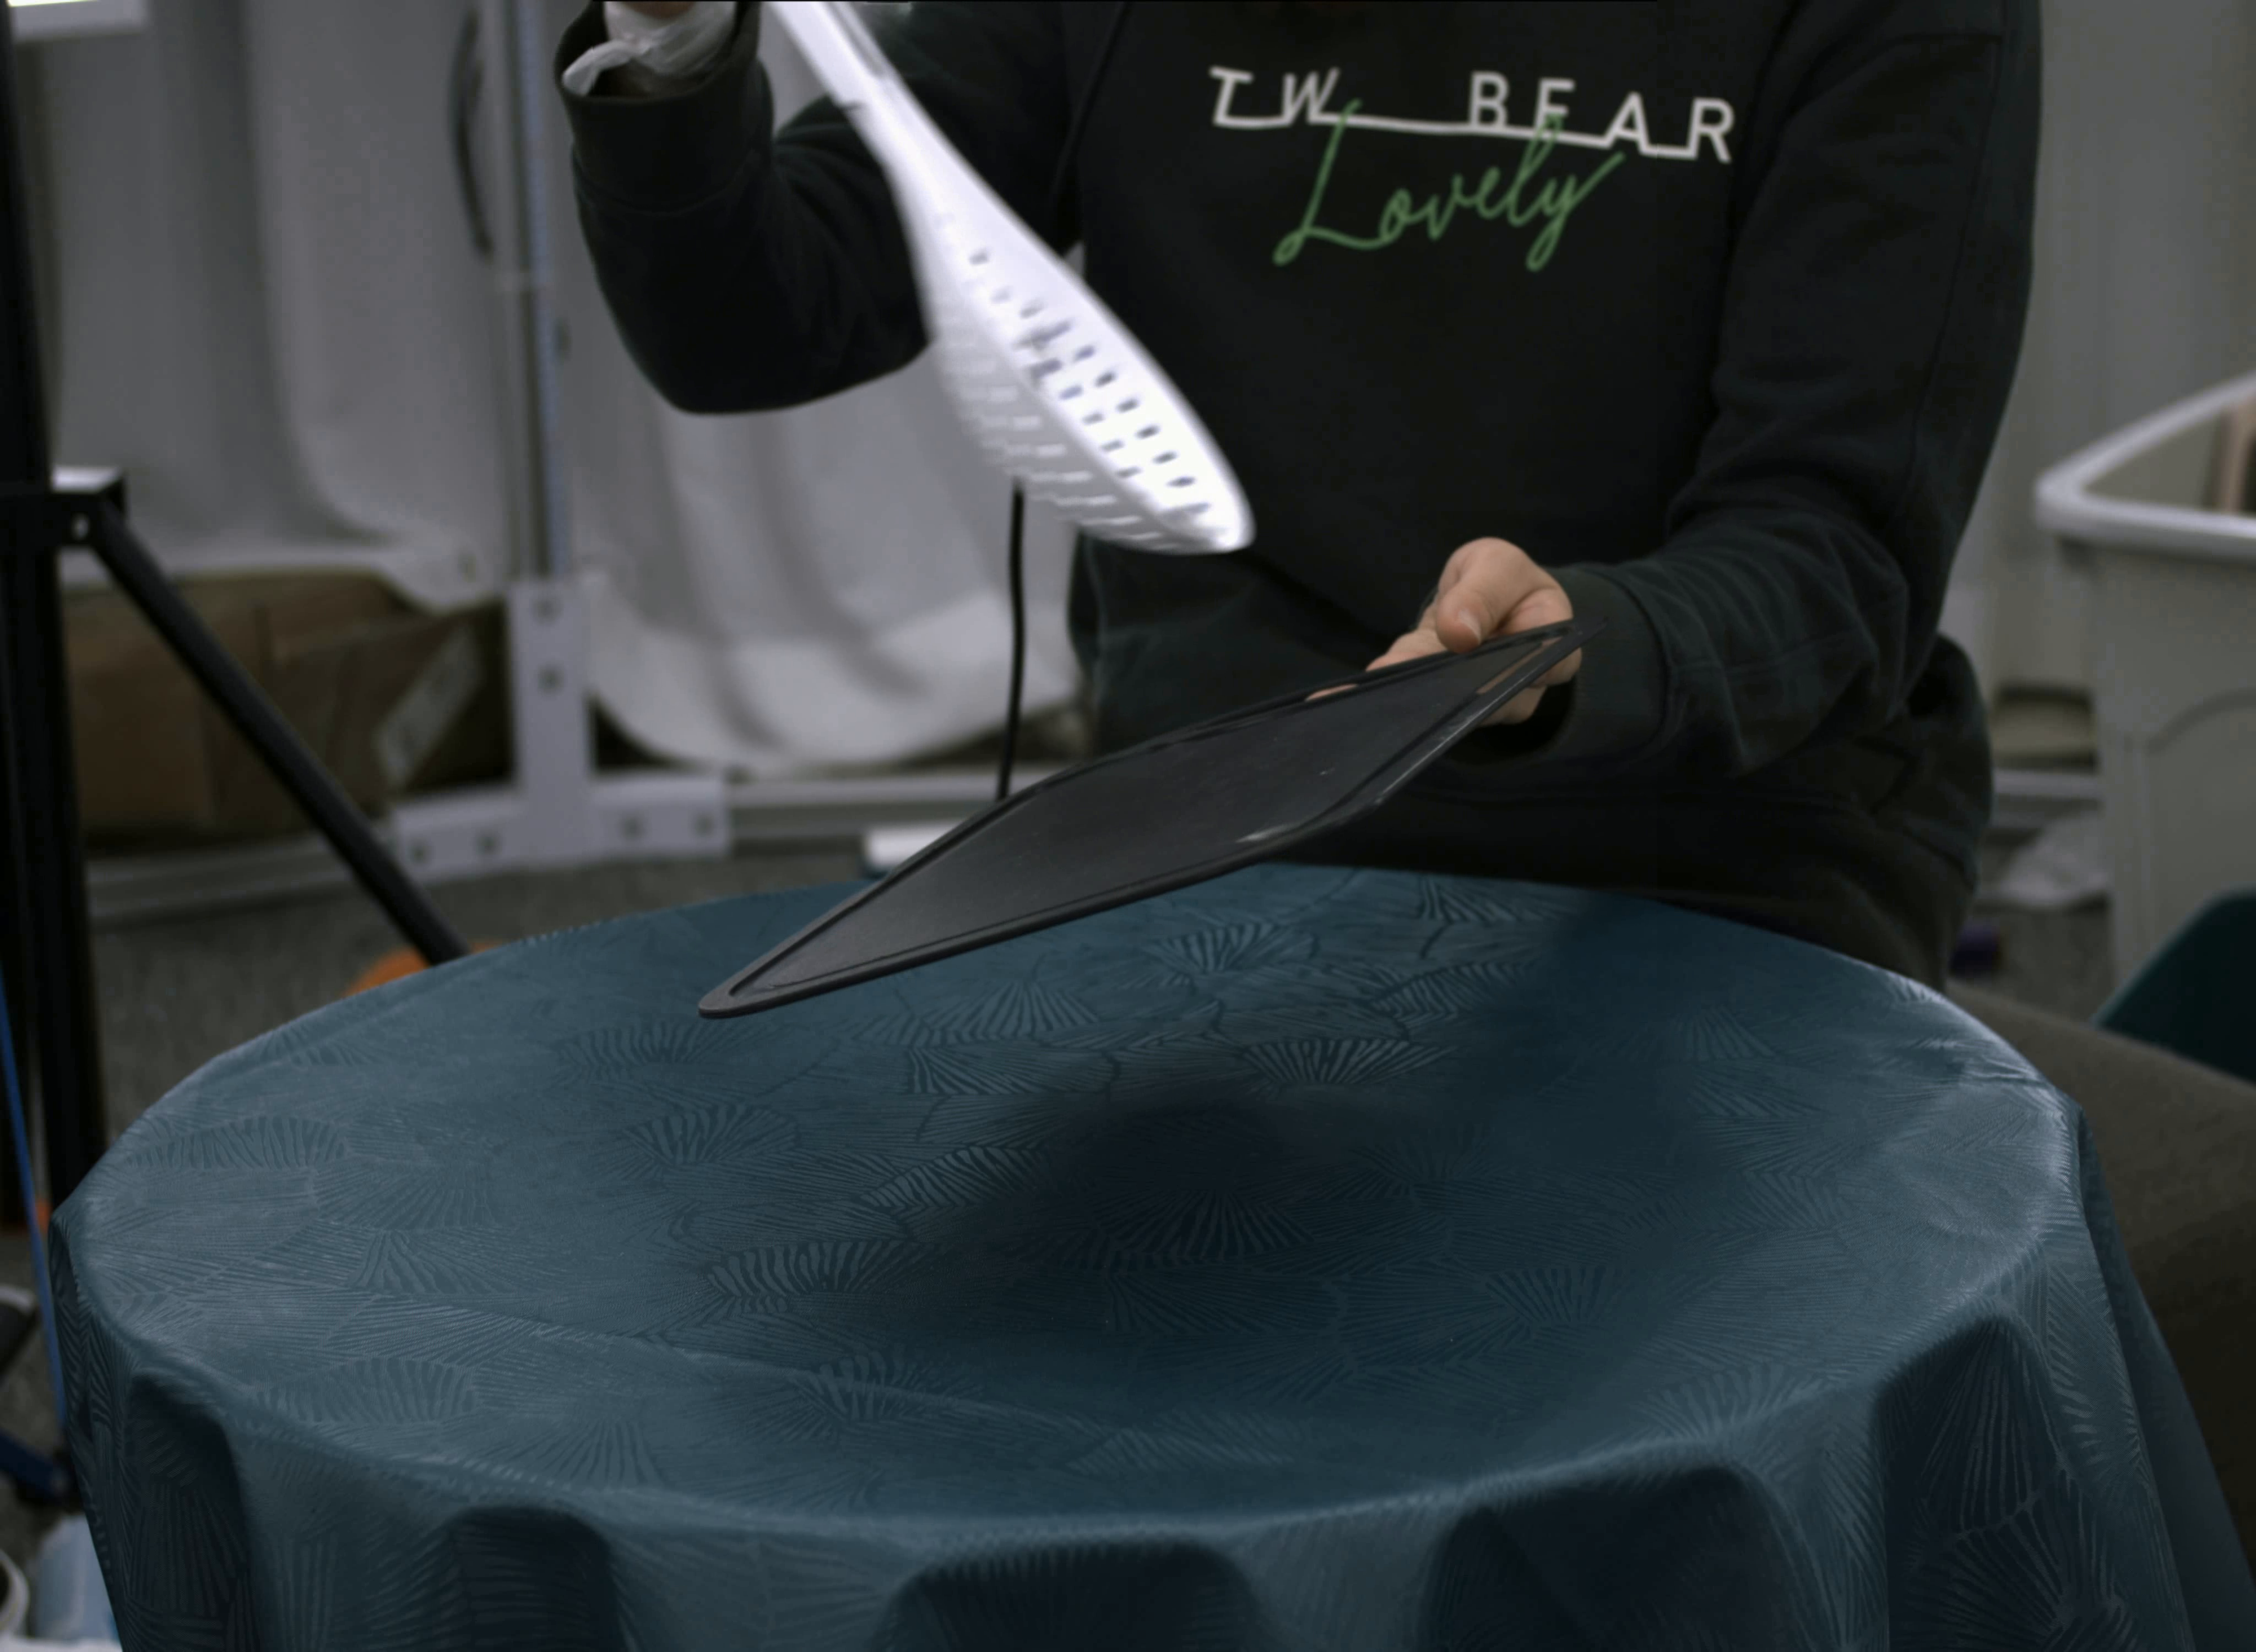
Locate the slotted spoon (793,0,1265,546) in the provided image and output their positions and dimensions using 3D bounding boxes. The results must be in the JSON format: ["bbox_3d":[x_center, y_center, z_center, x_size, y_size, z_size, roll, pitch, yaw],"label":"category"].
[{"bbox_3d":[-0.066,-0.220,1.665,0.046,0.355,0.133,-35,-20,15],"label":"slotted spoon"}]

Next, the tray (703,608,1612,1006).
[{"bbox_3d":[0.017,-0.010,1.535,0.214,0.010,0.321,-17,8,25],"label":"tray"}]
